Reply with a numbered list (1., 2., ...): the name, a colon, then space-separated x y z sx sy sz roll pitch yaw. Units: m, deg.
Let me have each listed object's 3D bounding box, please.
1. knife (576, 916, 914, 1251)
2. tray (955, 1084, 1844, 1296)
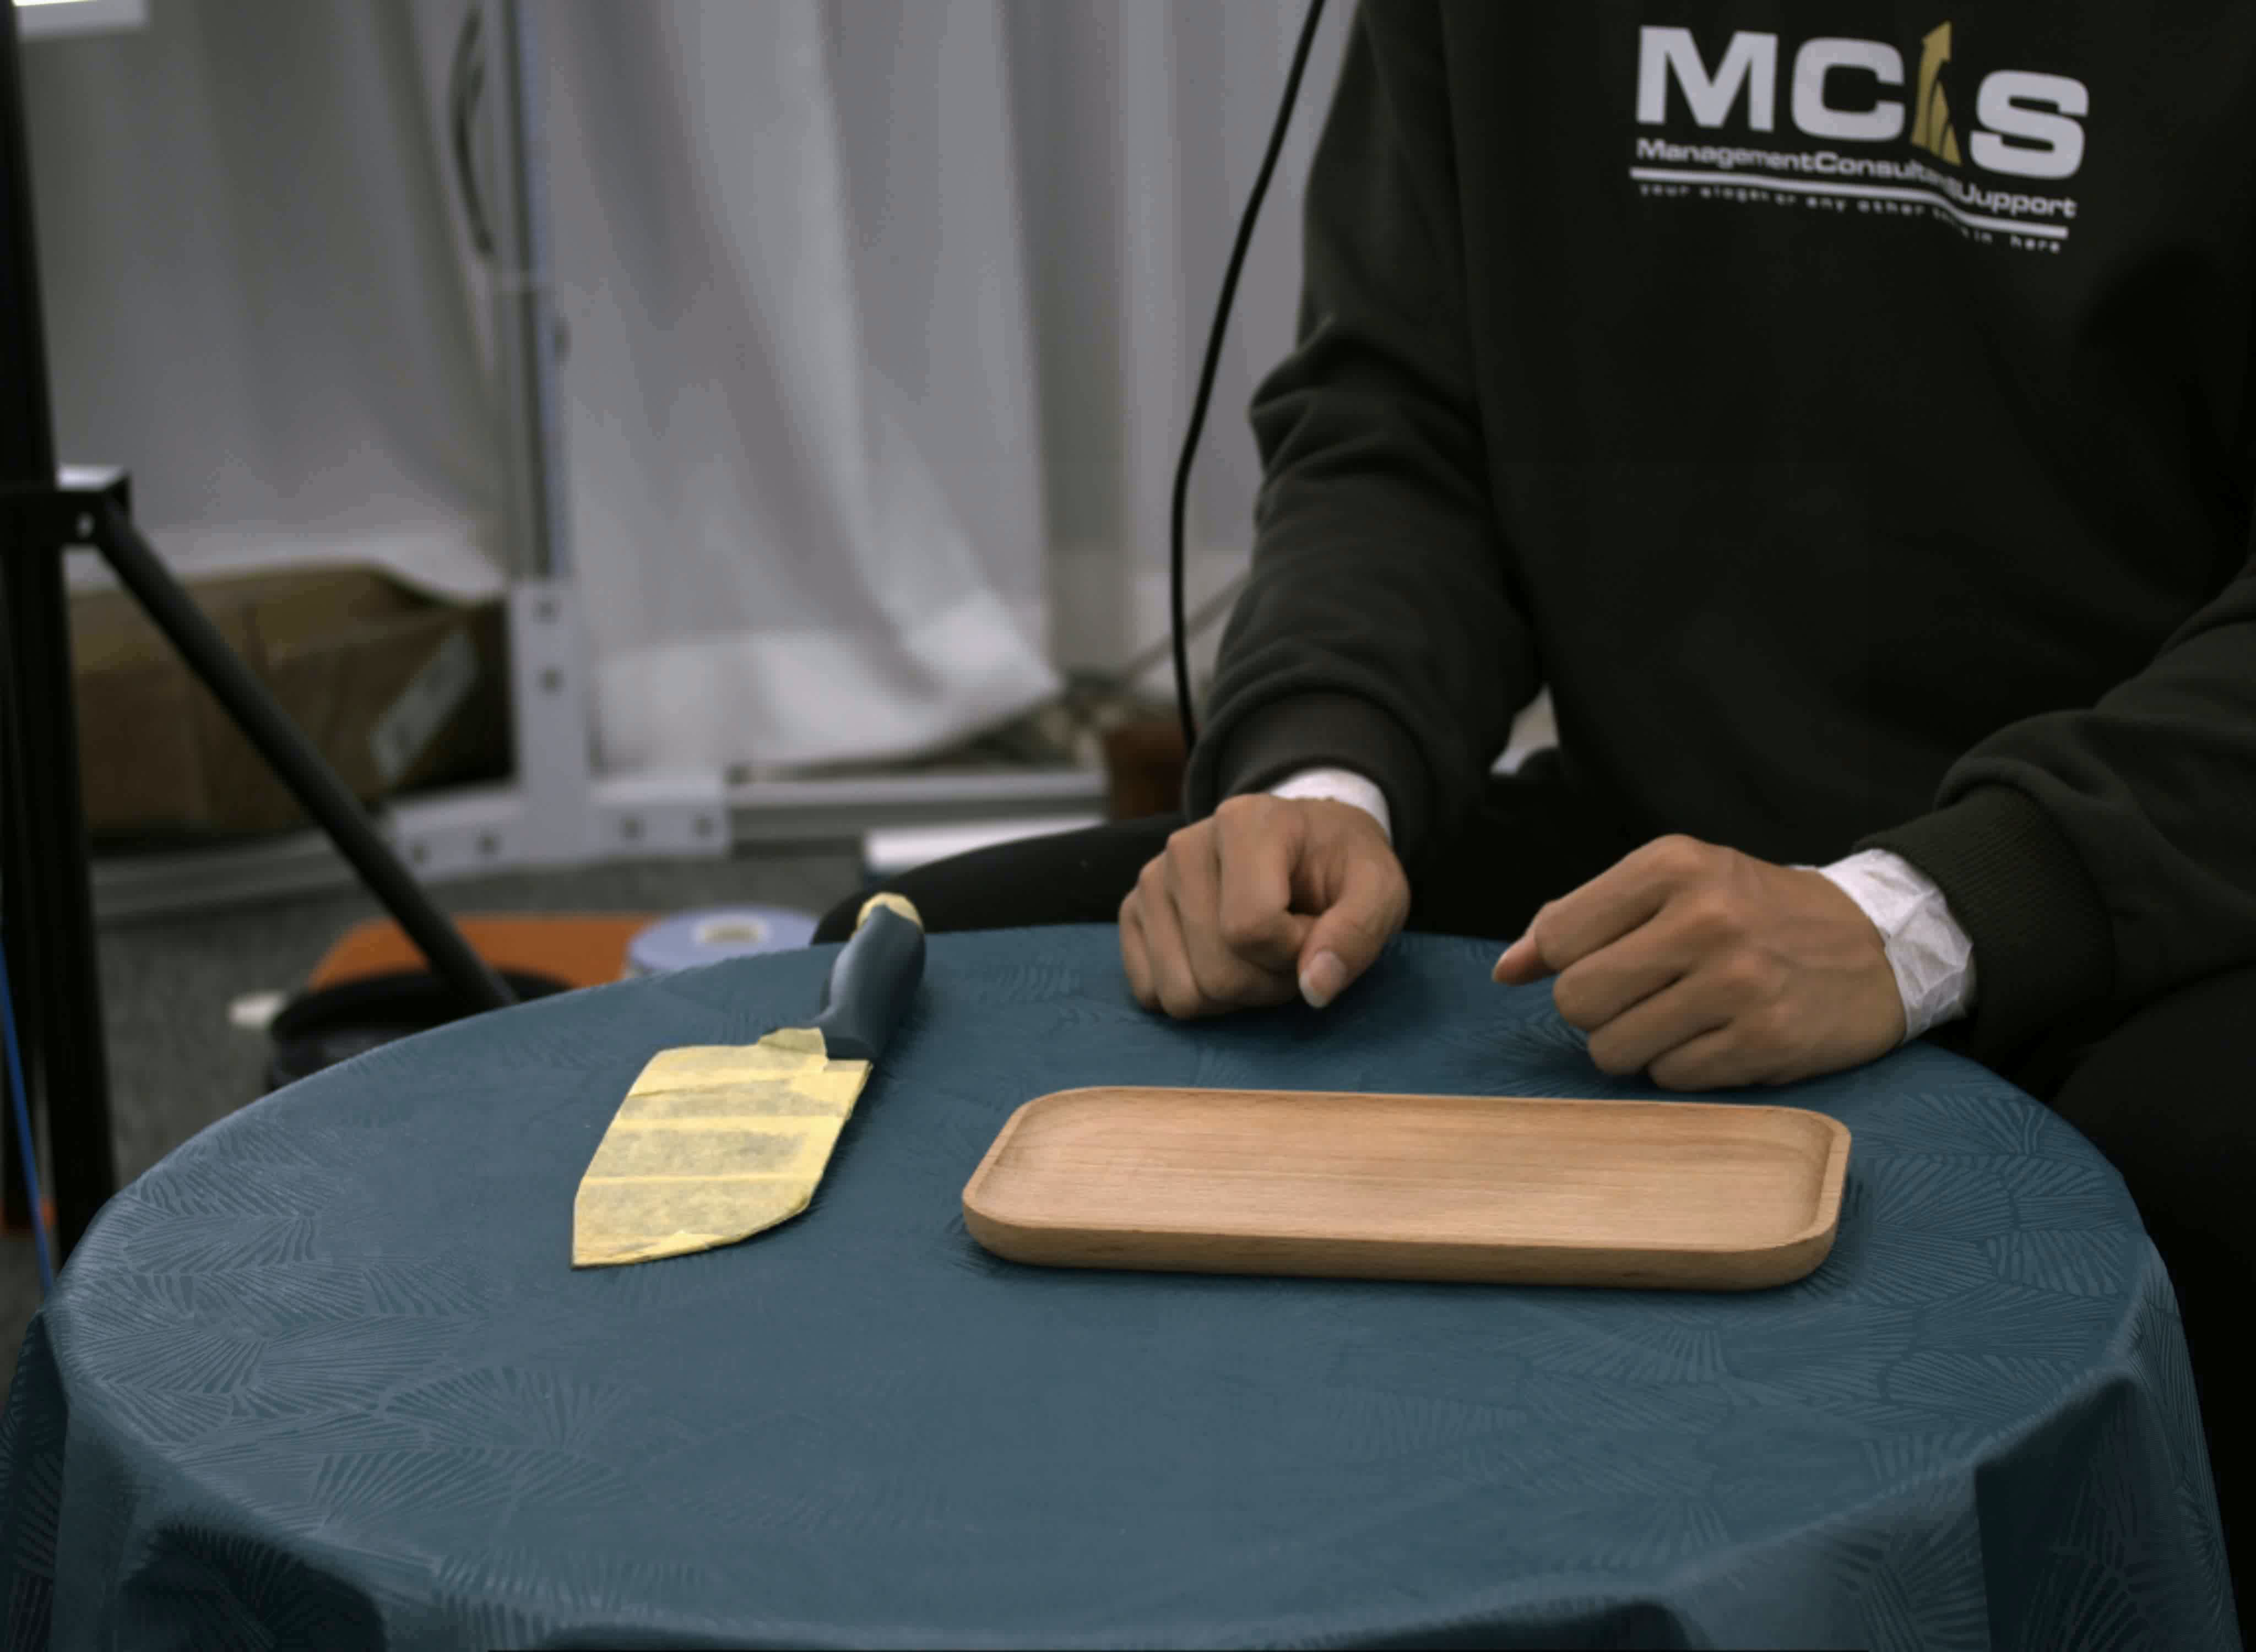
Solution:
1. knife: -0.115 0.080 1.654 0.081 0.027 0.288 2 17 10
2. tray: 0.080 0.105 1.531 0.252 0.023 0.129 1 13 13
